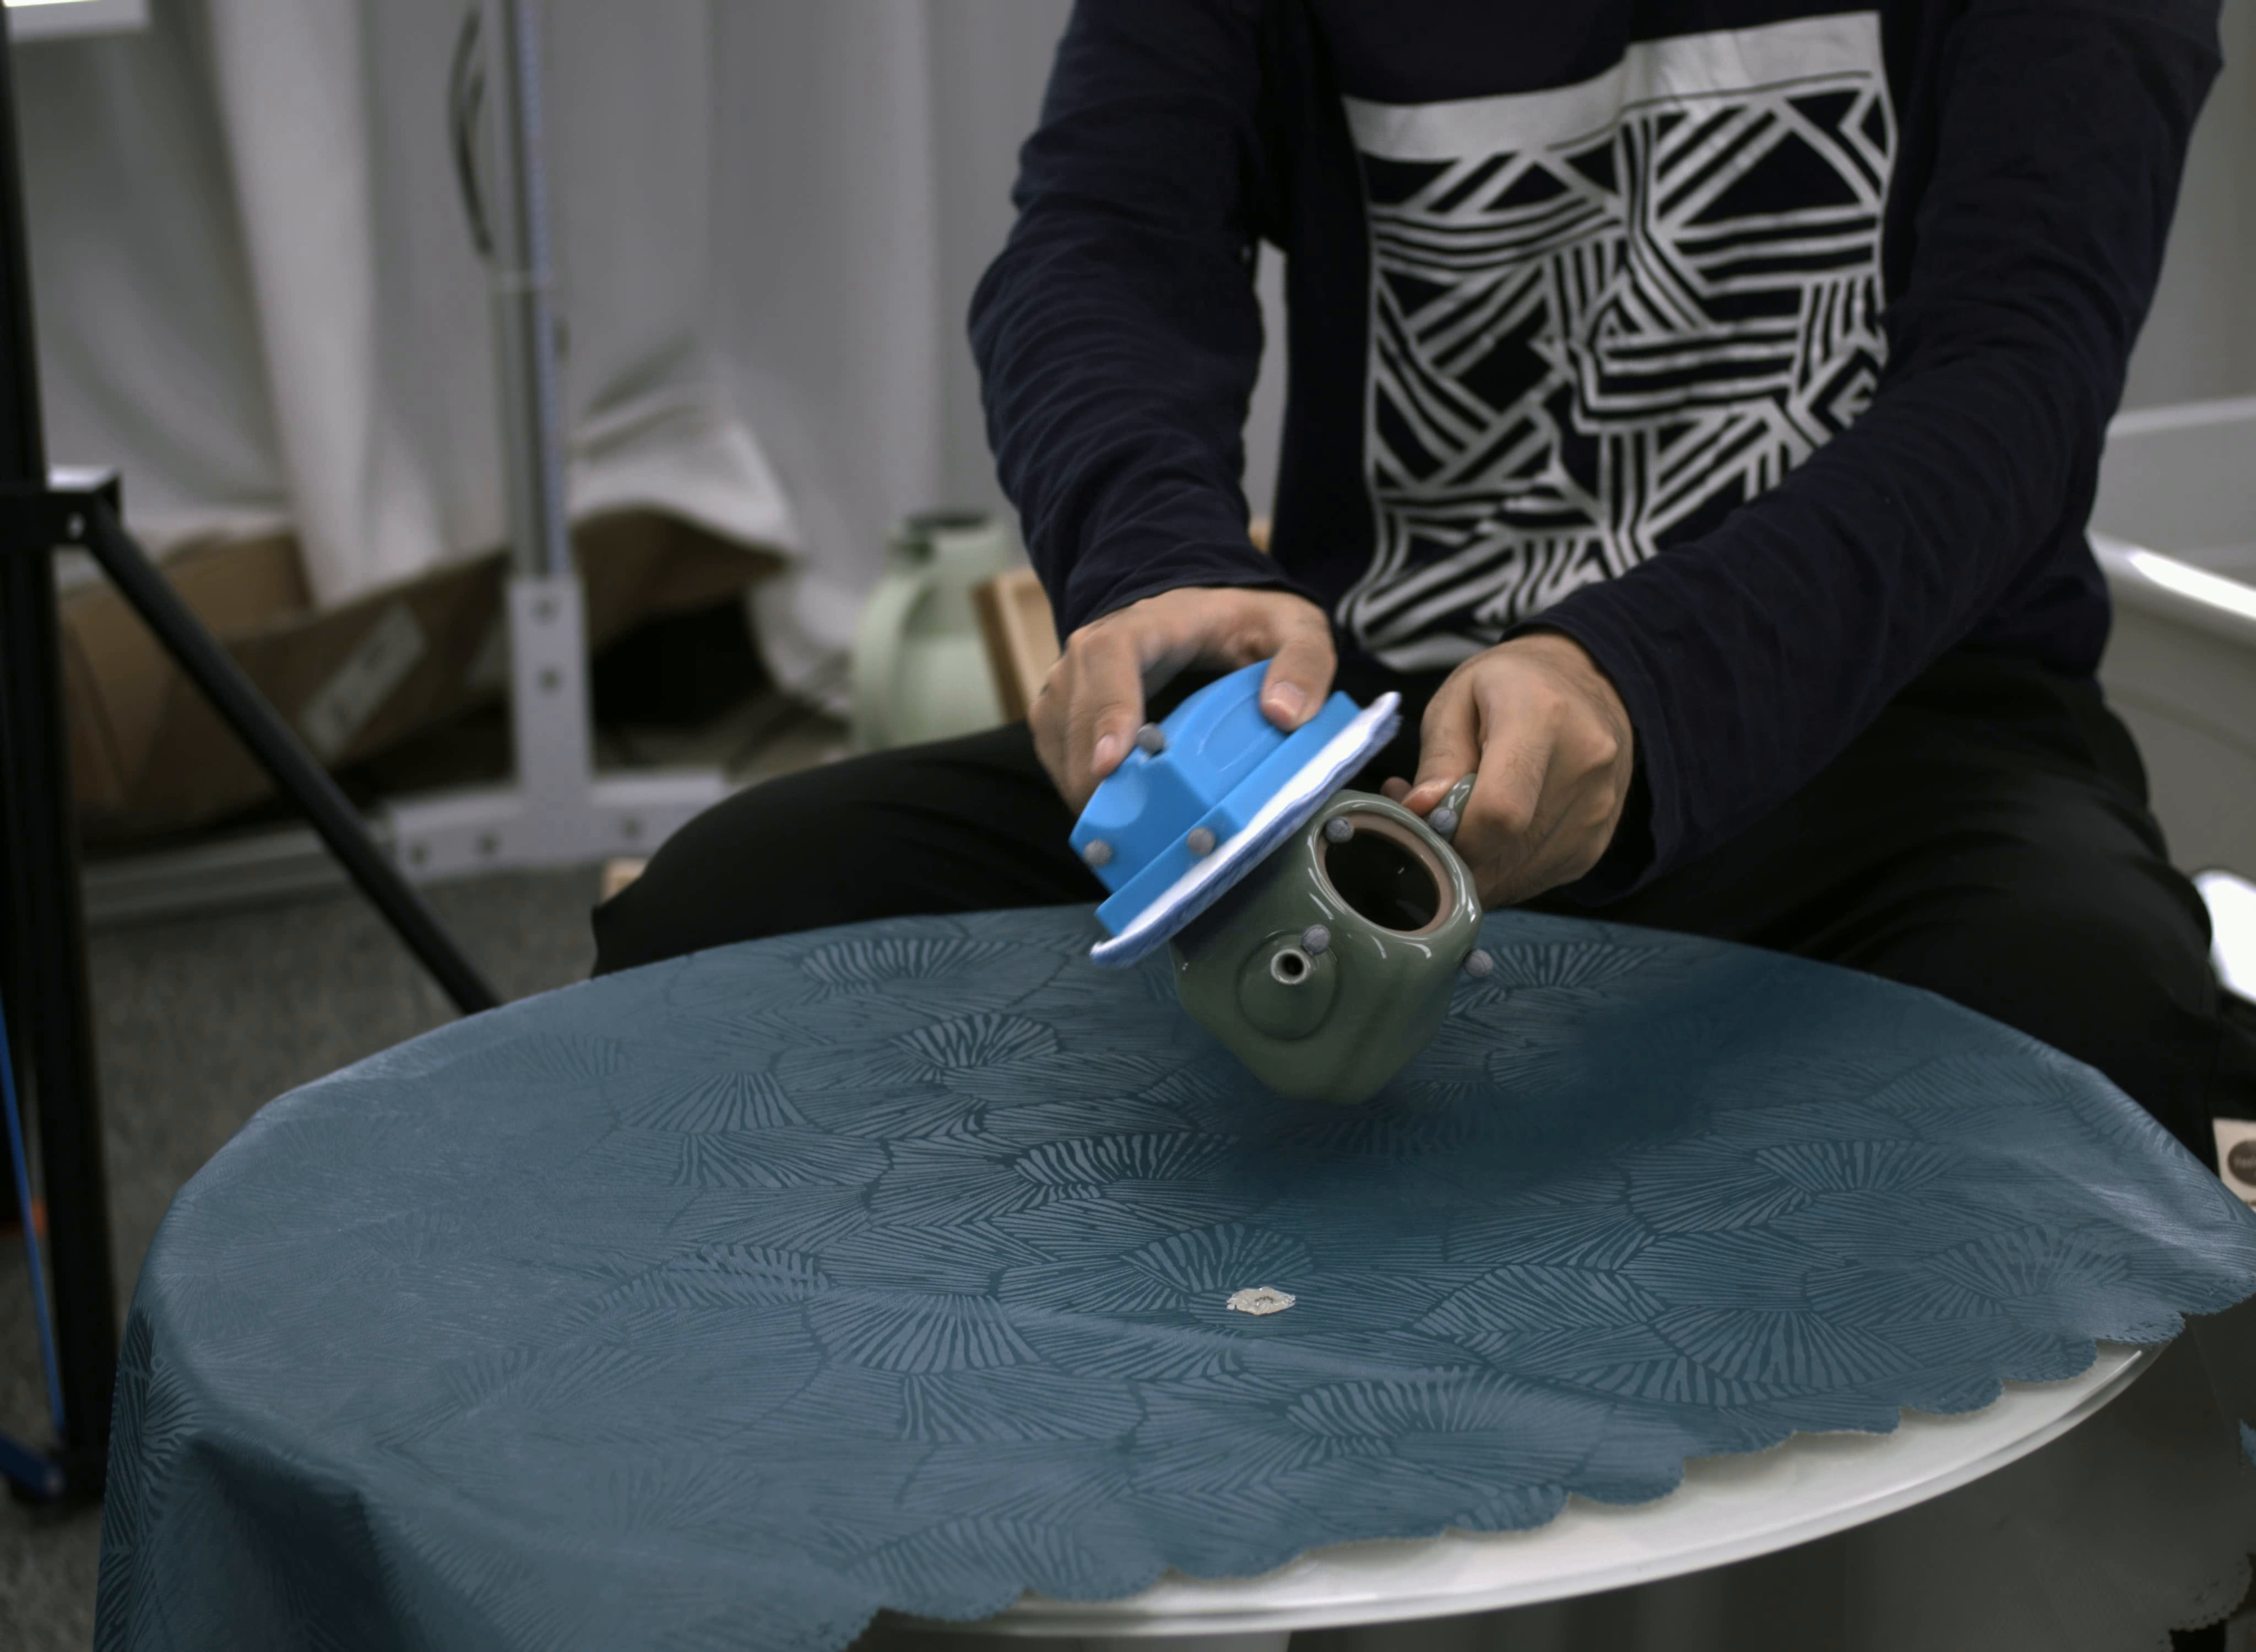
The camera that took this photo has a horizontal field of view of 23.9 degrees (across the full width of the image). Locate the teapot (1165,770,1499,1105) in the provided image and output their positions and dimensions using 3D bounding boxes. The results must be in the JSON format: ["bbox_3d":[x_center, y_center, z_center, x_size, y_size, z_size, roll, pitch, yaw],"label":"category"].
[{"bbox_3d":[0.062,0.032,1.575,0.080,0.076,0.130,42,43,8],"label":"teapot"}]

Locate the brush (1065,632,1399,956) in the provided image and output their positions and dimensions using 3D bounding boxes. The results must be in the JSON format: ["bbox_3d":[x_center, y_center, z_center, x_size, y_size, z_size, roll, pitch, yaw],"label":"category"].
[{"bbox_3d":[0.024,-0.014,1.593,0.085,0.056,0.142,-41,1,30],"label":"brush"}]
